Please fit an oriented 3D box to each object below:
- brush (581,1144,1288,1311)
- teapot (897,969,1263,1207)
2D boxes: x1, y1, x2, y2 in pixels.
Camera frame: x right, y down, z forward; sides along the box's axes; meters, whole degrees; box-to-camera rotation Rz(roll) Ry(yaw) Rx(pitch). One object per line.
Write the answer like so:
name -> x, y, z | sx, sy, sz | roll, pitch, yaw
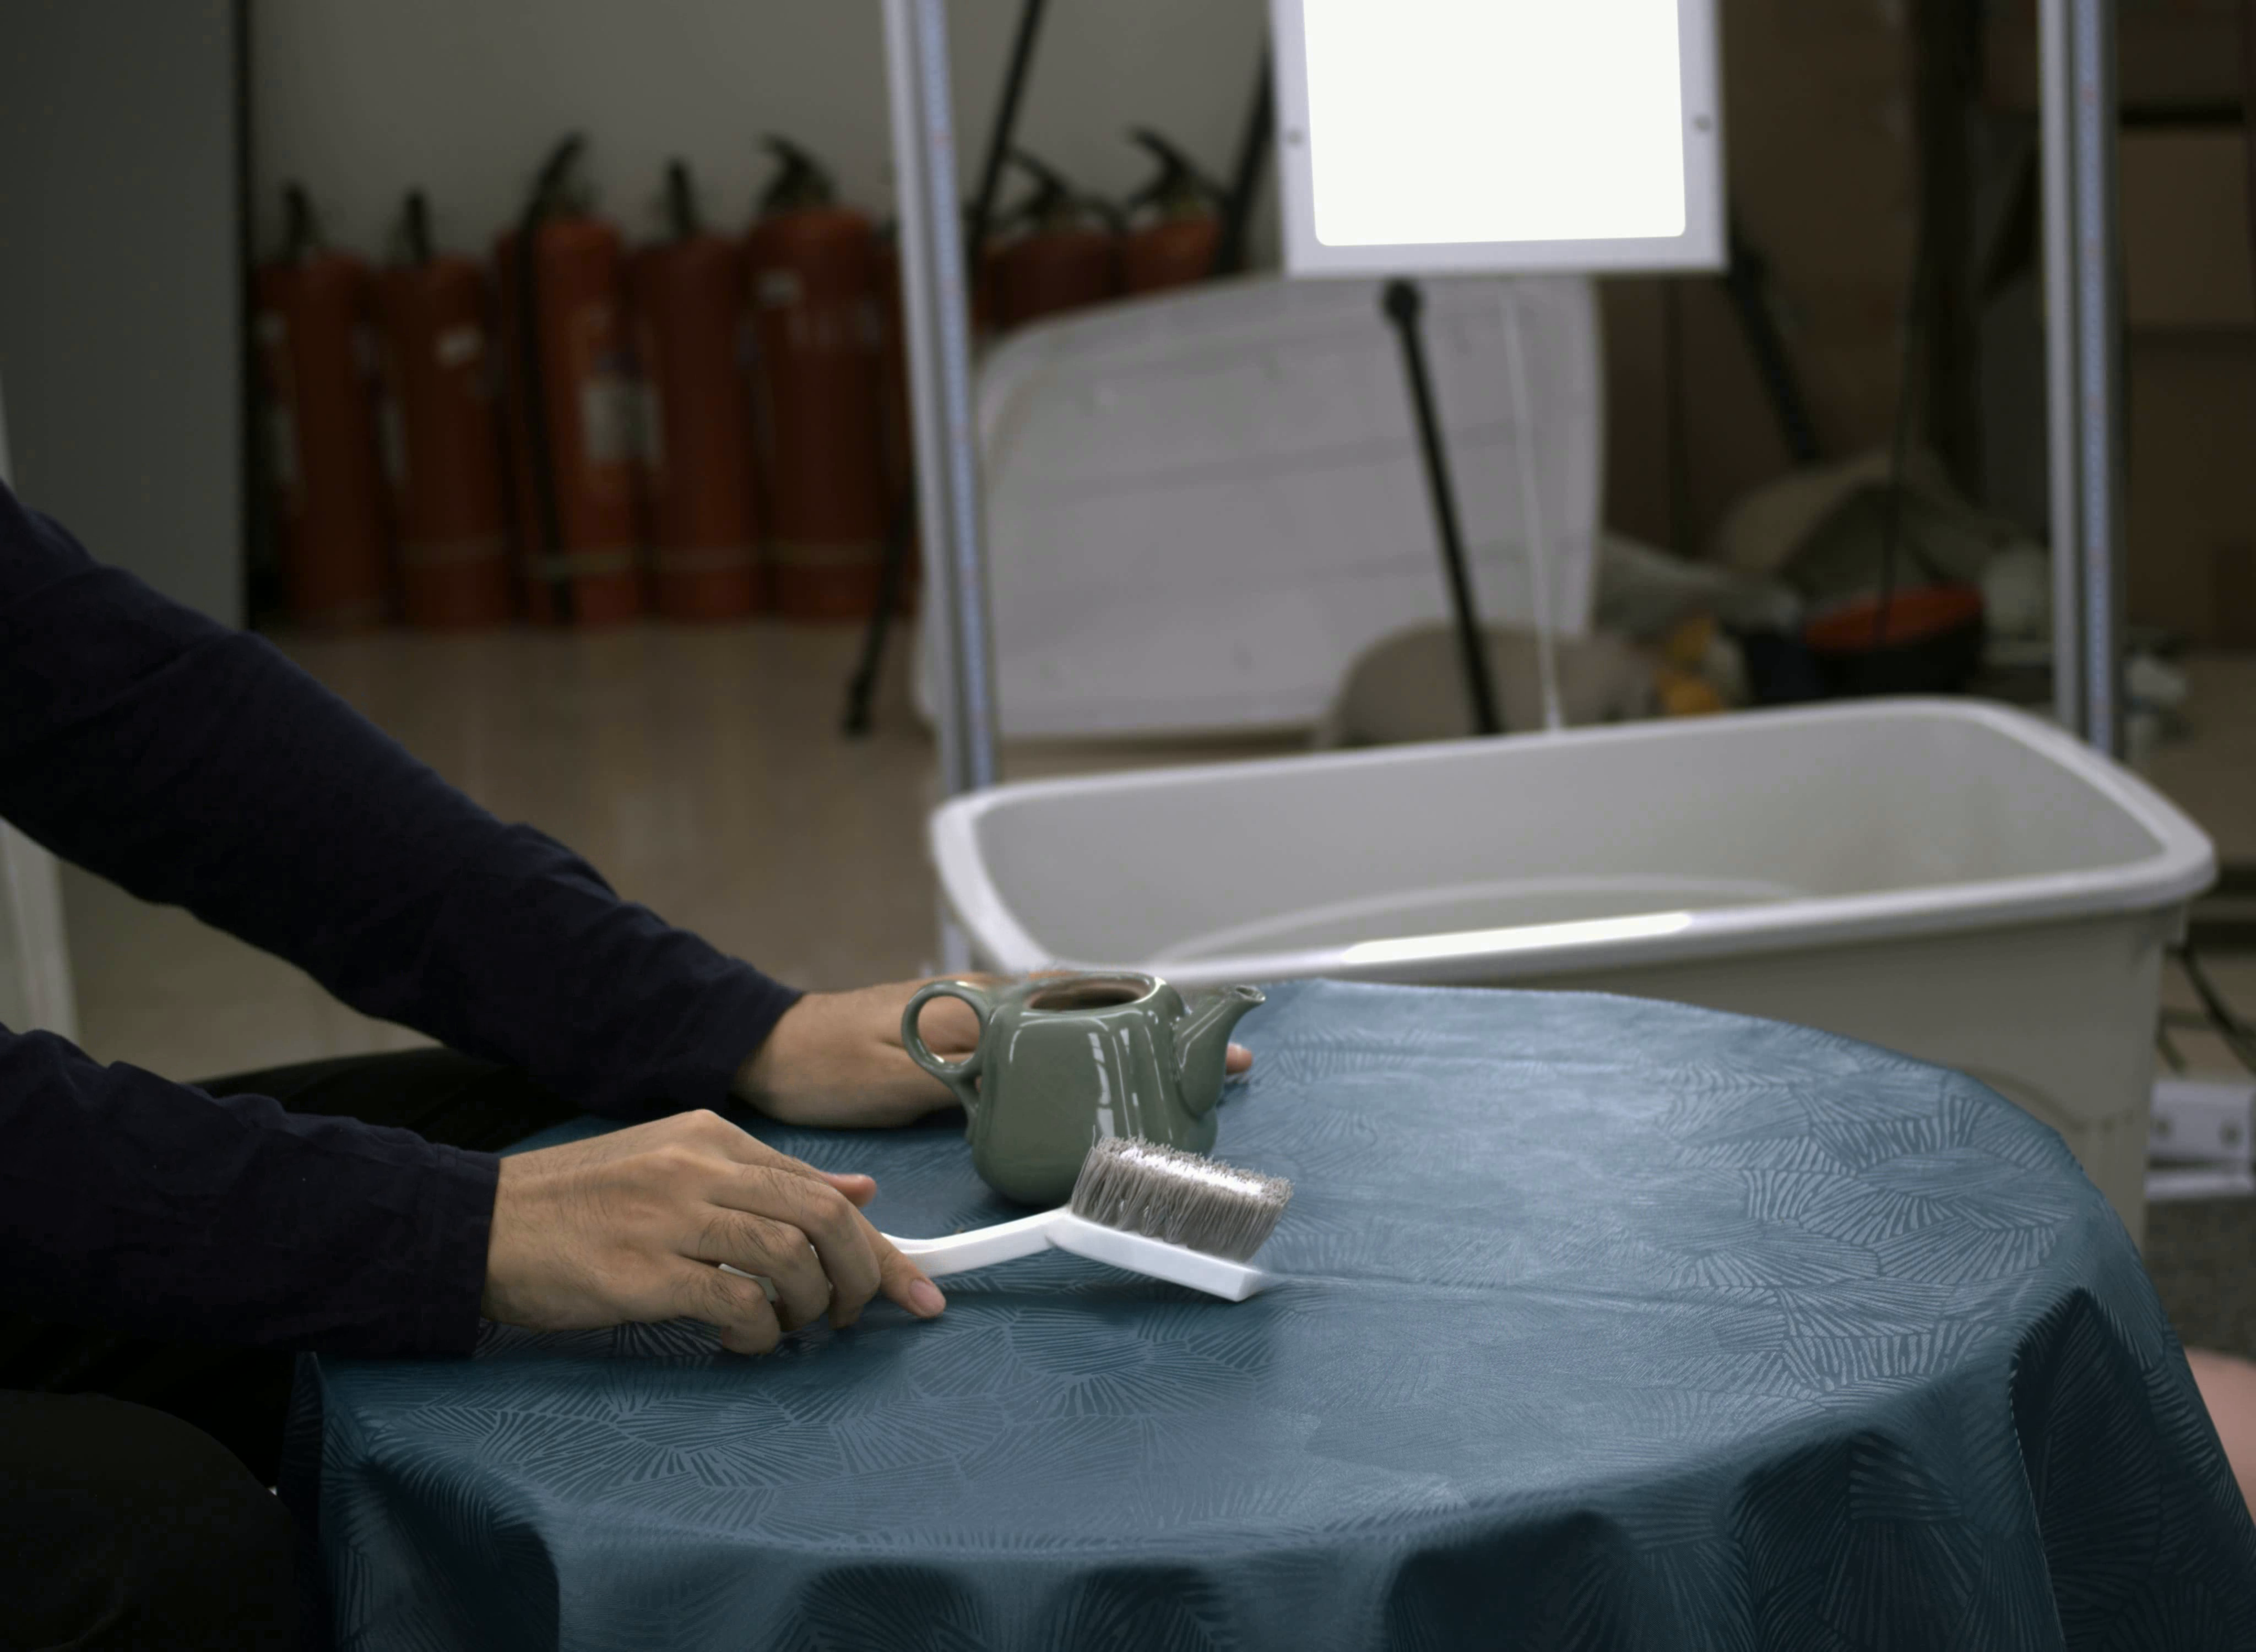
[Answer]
brush -> -0.066, 0.130, 1.810 | 0.246, 0.050, 0.034 | 0, 18, 18
teapot -> -0.014, 0.089, 1.904 | 0.134, 0.075, 0.078 | -1, 14, 18
